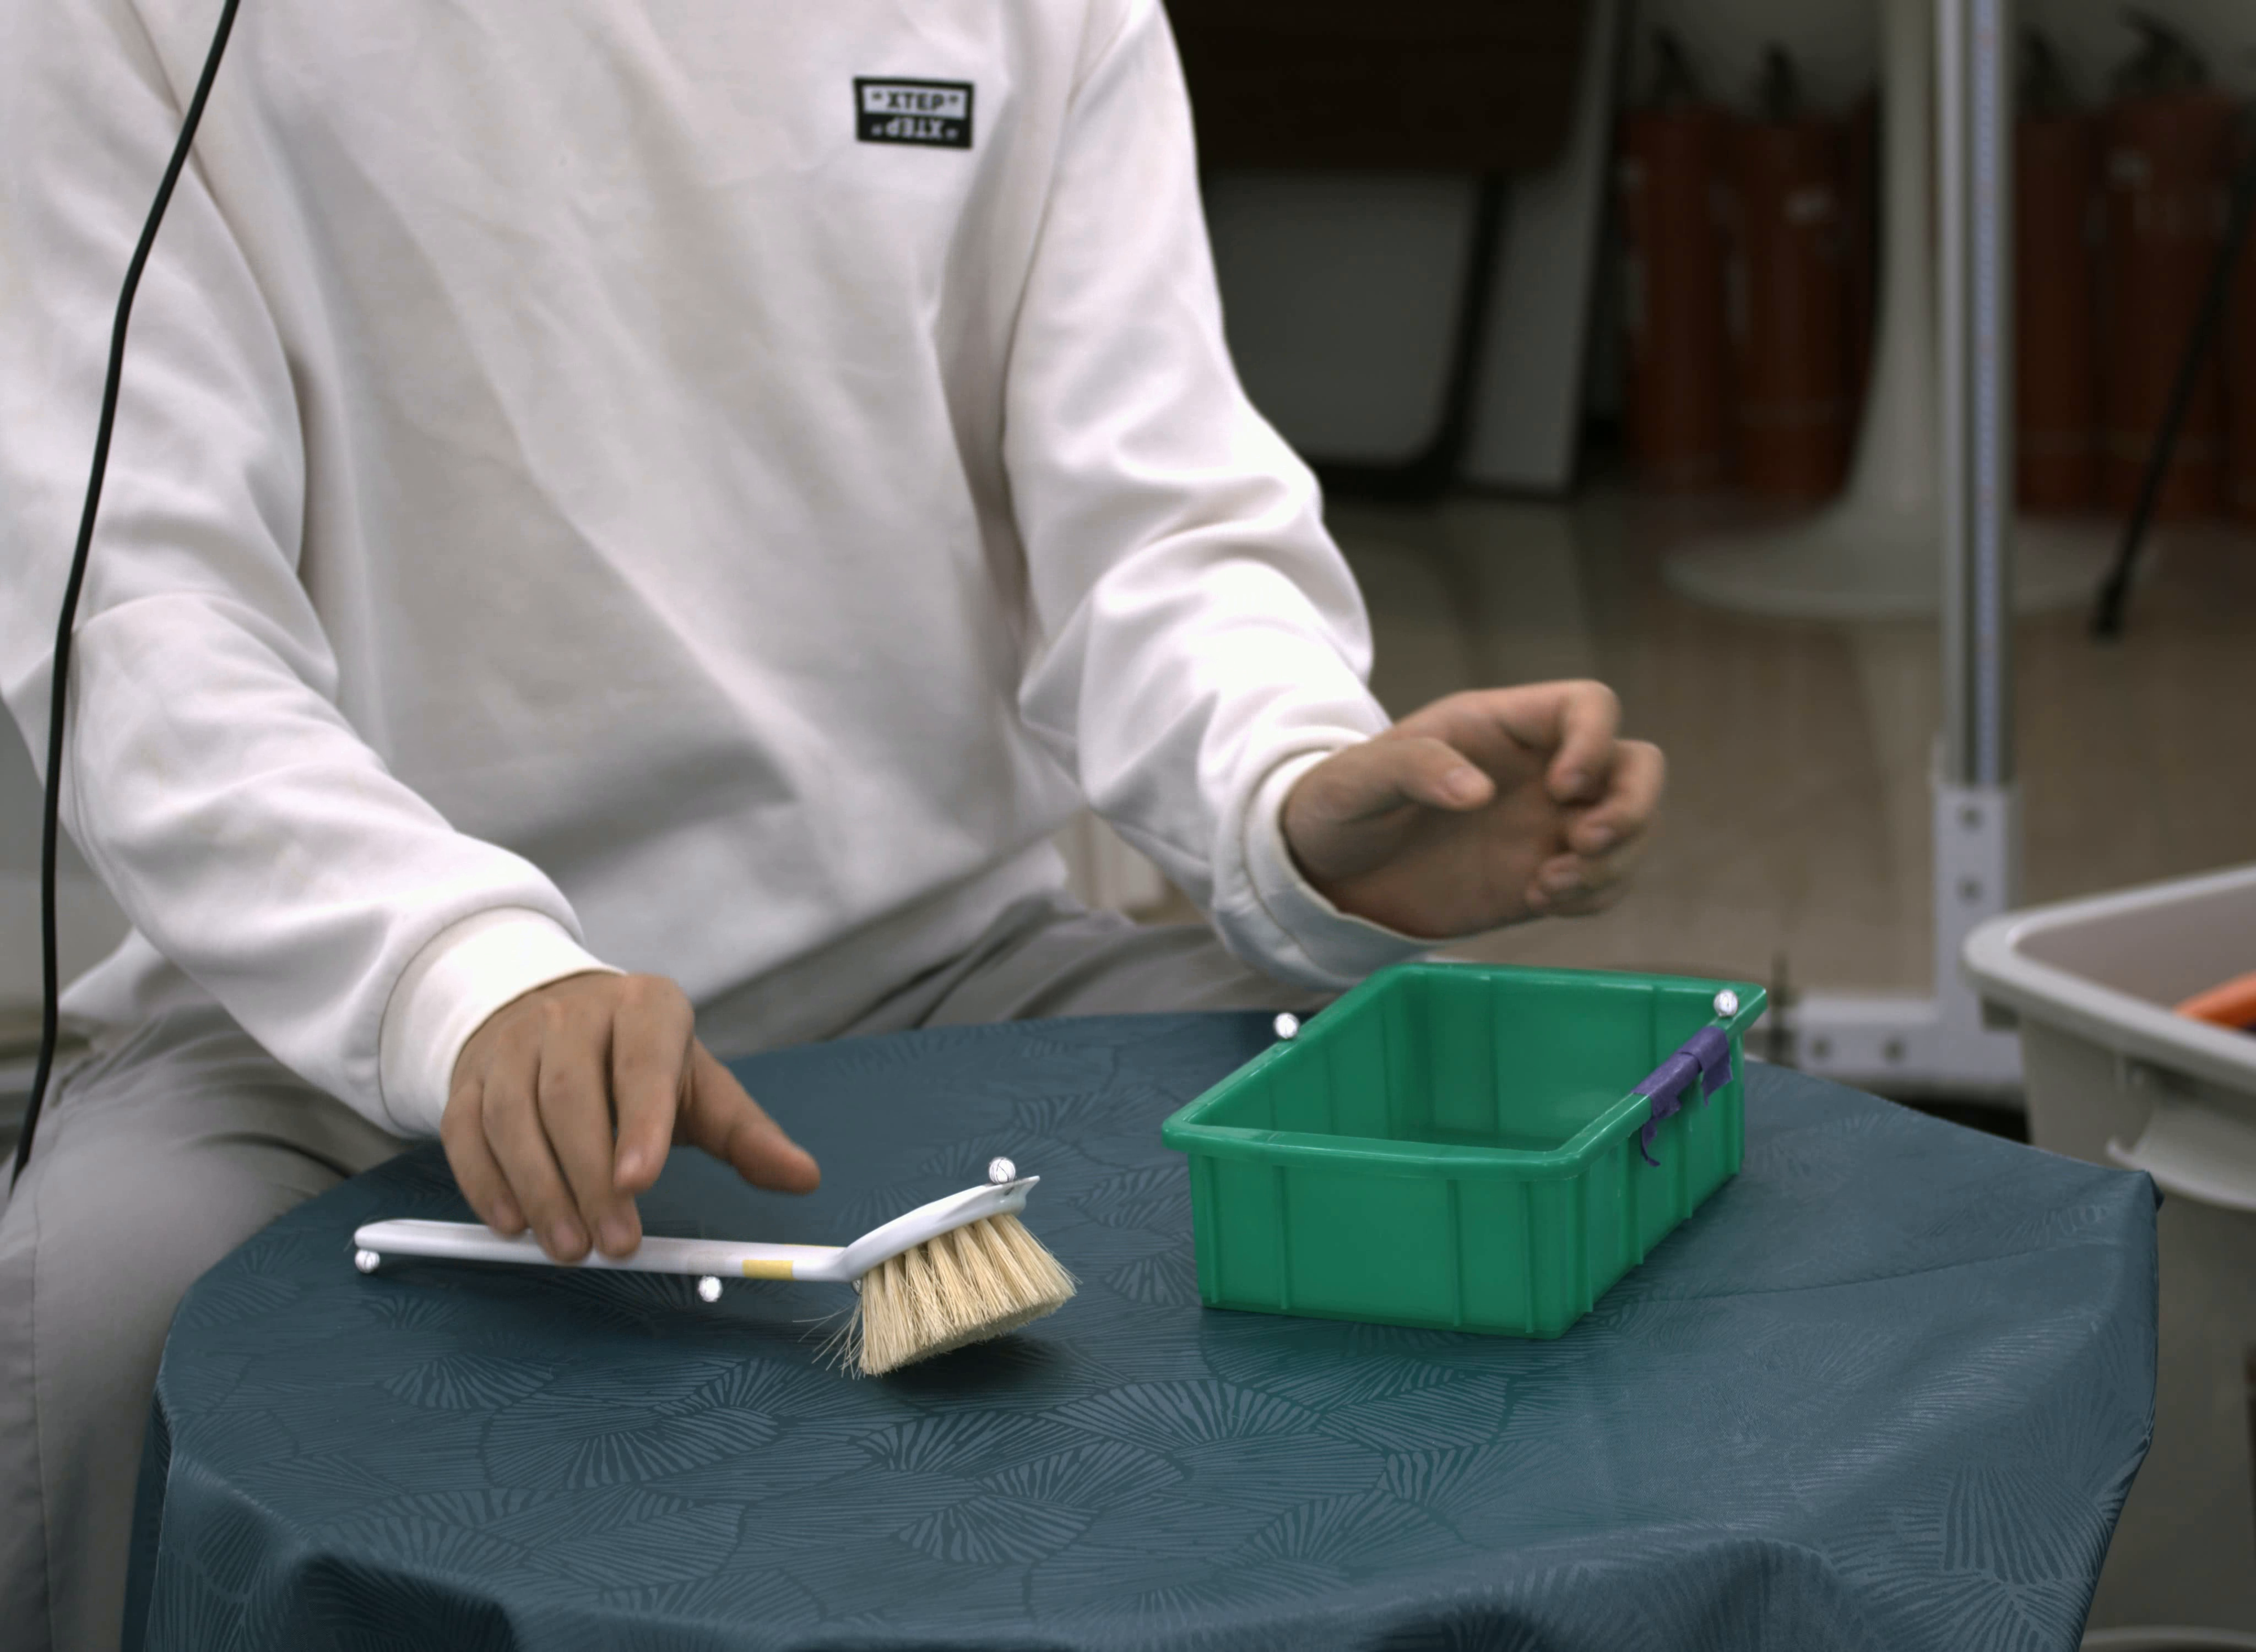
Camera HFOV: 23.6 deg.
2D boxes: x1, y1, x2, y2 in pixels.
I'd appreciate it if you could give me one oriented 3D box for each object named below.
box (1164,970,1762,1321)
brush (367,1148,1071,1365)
[{"bbox_3d":[0.110,0.099,1.702,0.139,0.066,0.208,3,12,24],"label":"box"},{"bbox_3d":[-0.131,0.148,1.674,0.268,0.057,0.067,-13,-17,34],"label":"brush"}]
